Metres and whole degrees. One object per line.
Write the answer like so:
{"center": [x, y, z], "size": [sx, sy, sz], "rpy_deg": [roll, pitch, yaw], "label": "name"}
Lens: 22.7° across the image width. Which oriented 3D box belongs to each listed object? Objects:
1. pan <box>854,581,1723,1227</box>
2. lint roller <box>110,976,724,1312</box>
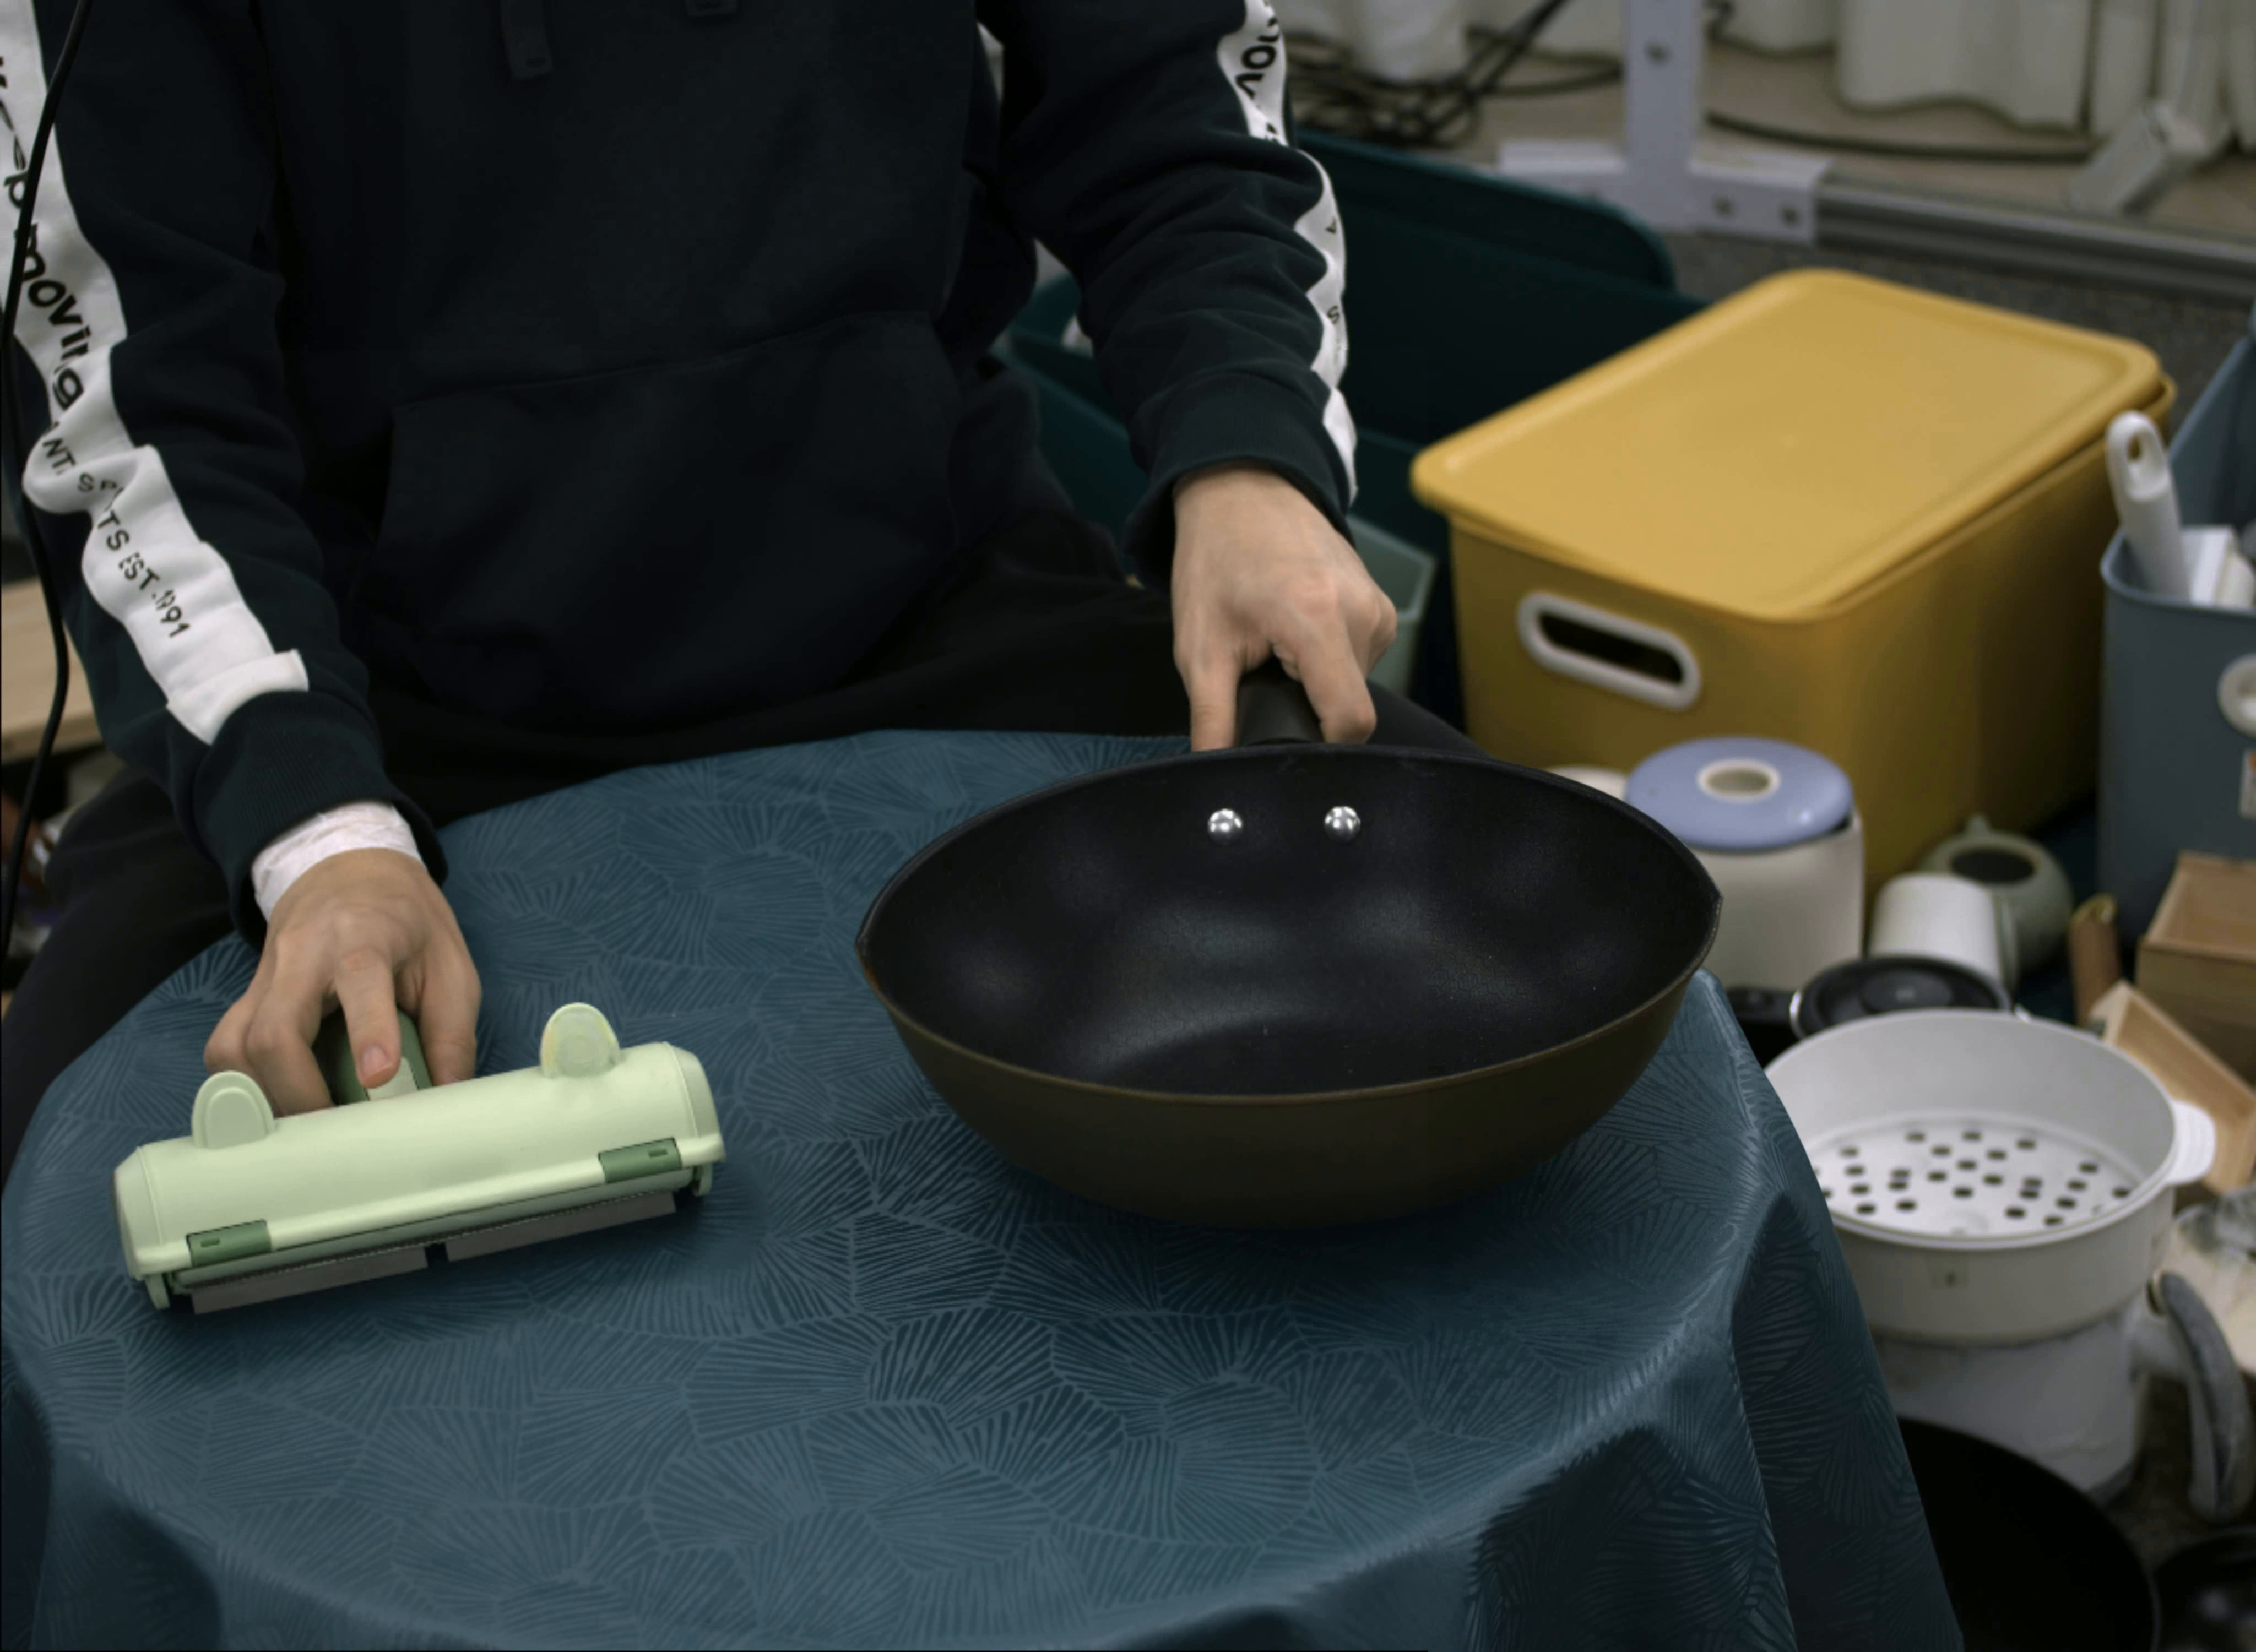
{"center": [0.054, 0.028, 1.953], "size": [0.287, 0.086, 0.469], "rpy_deg": [-2, 22, 1], "label": "pan"}
{"center": [-0.249, 0.080, 1.881], "size": [0.199, 0.081, 0.185], "rpy_deg": [-11, 34, -14], "label": "lint roller"}
